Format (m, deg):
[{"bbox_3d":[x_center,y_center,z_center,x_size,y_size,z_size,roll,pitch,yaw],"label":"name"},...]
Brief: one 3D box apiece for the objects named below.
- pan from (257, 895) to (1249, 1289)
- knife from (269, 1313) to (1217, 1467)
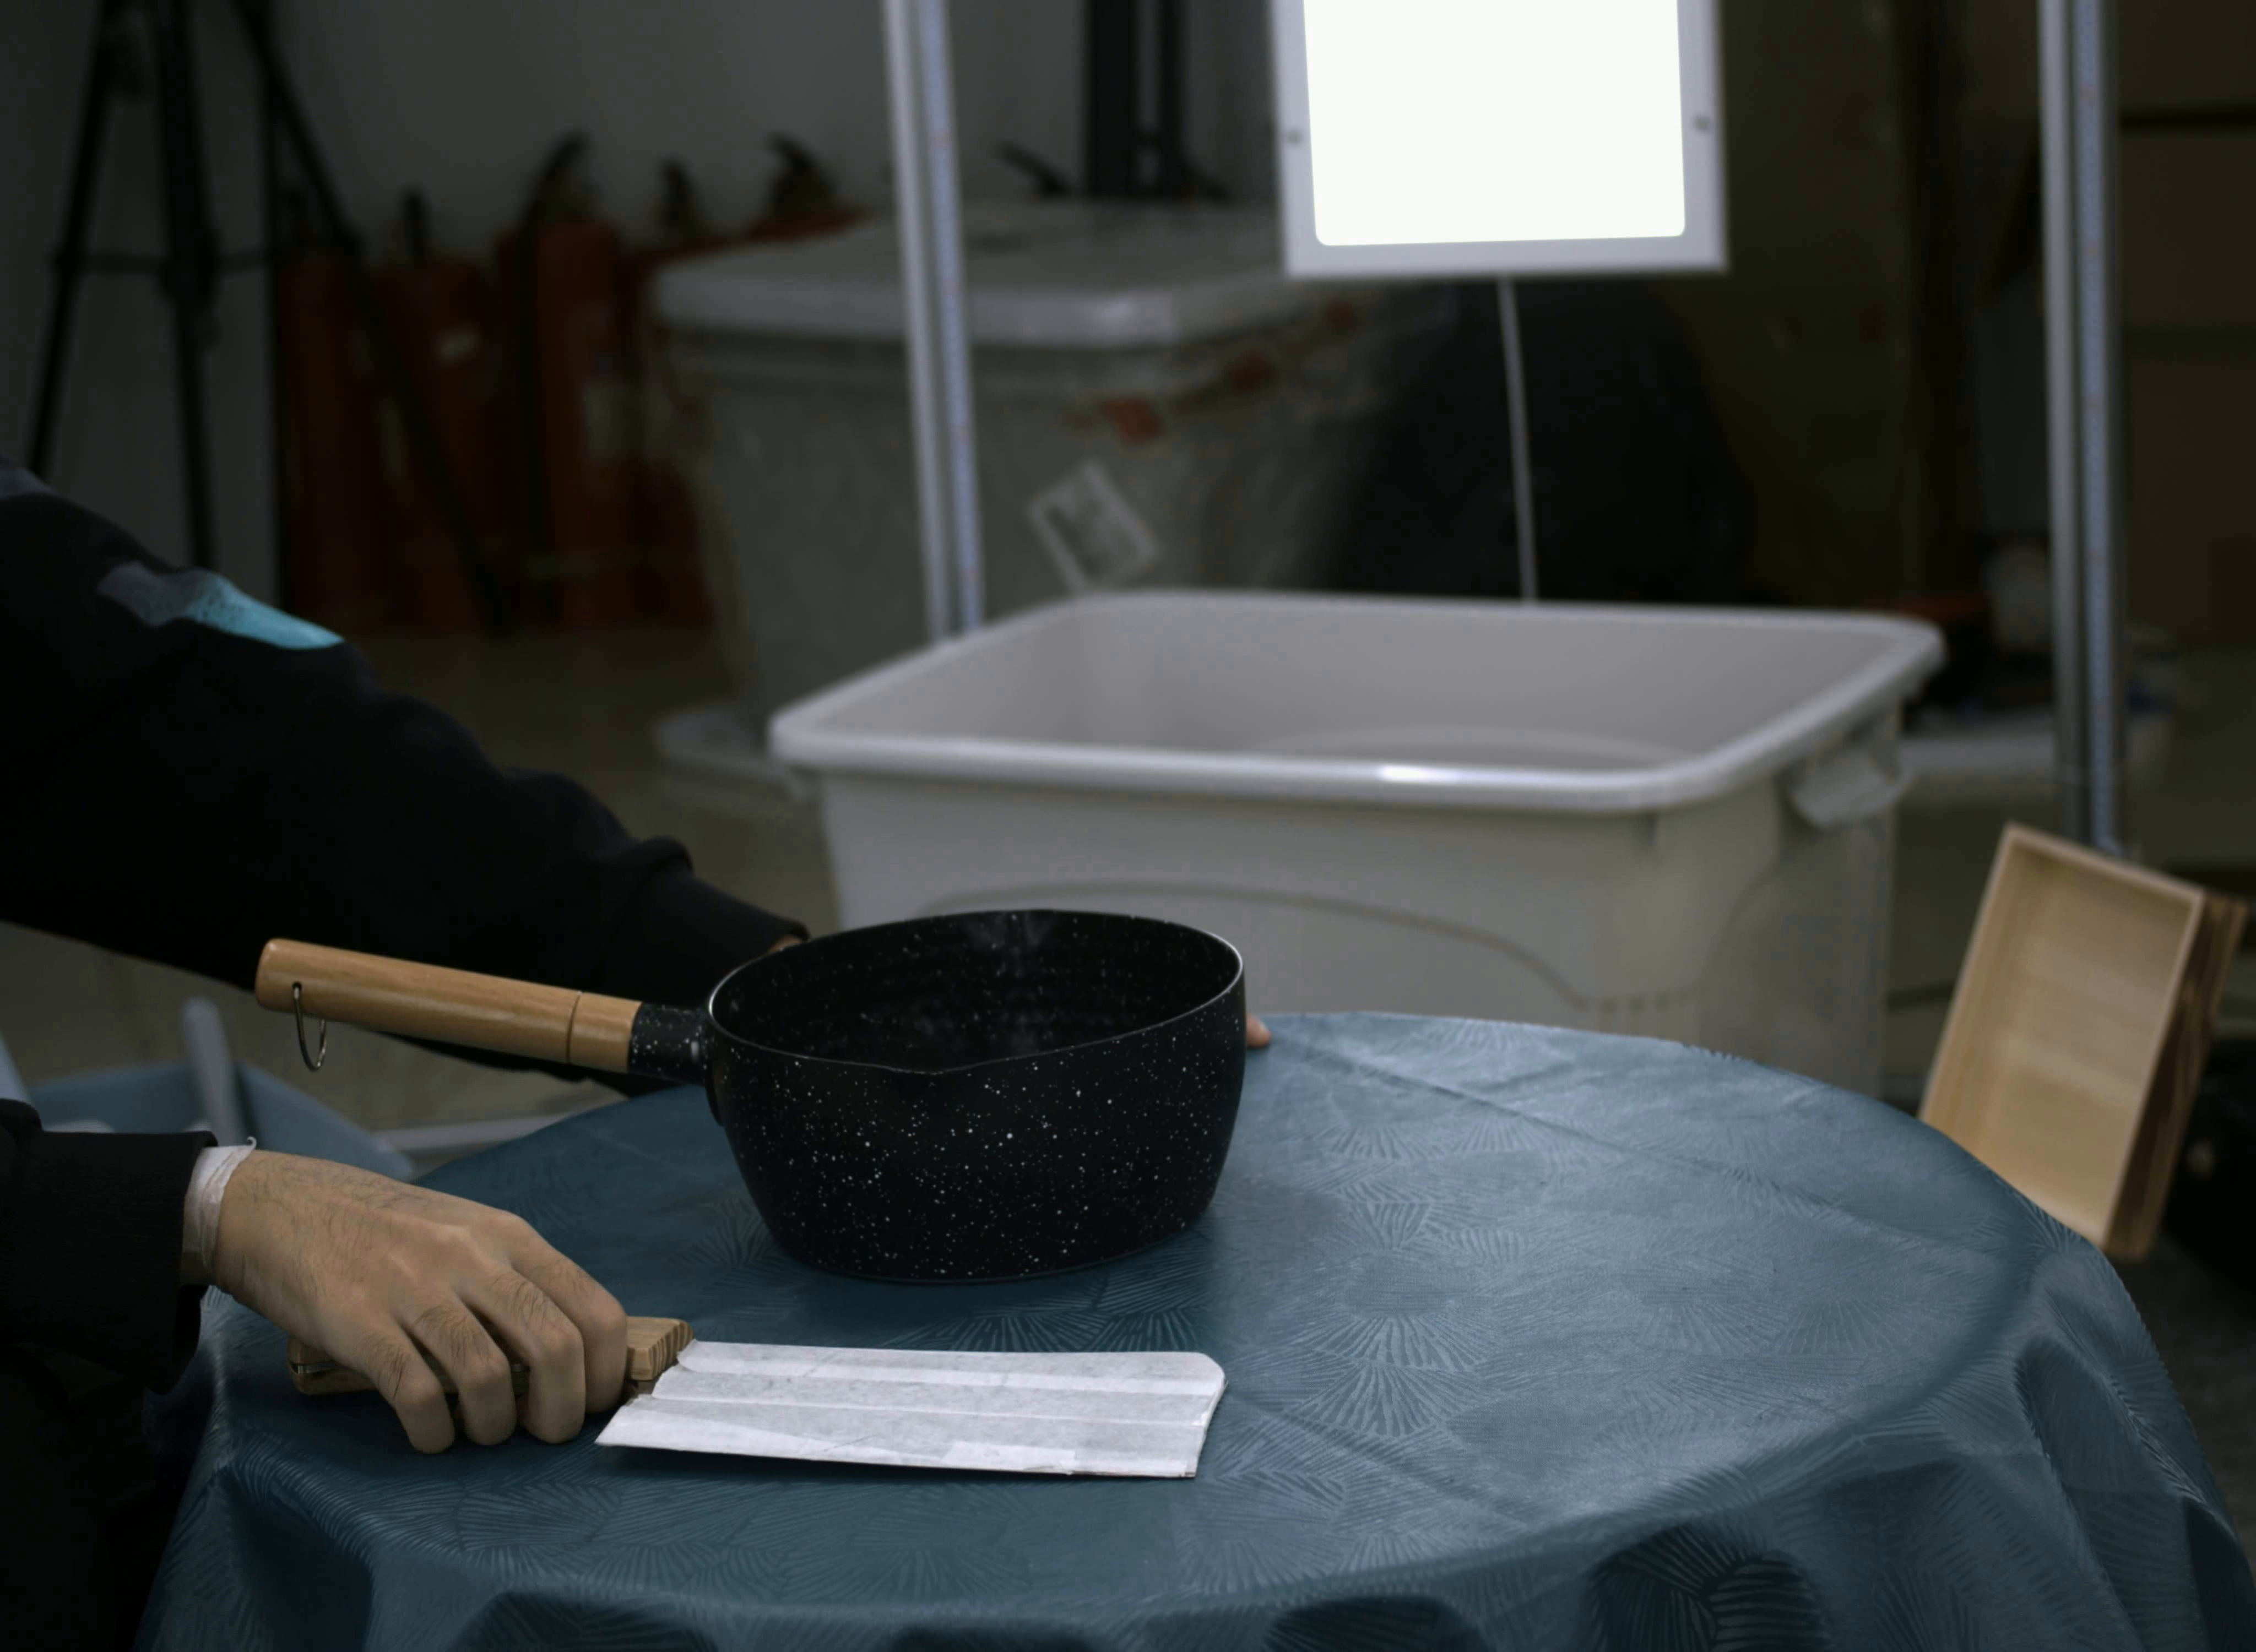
[{"bbox_3d":[-0.128,0.085,1.882,0.344,0.108,0.206,-2,15,7],"label":"pan"},{"bbox_3d":[-0.120,0.174,1.711,0.319,0.022,0.112,2,16,18],"label":"knife"}]
